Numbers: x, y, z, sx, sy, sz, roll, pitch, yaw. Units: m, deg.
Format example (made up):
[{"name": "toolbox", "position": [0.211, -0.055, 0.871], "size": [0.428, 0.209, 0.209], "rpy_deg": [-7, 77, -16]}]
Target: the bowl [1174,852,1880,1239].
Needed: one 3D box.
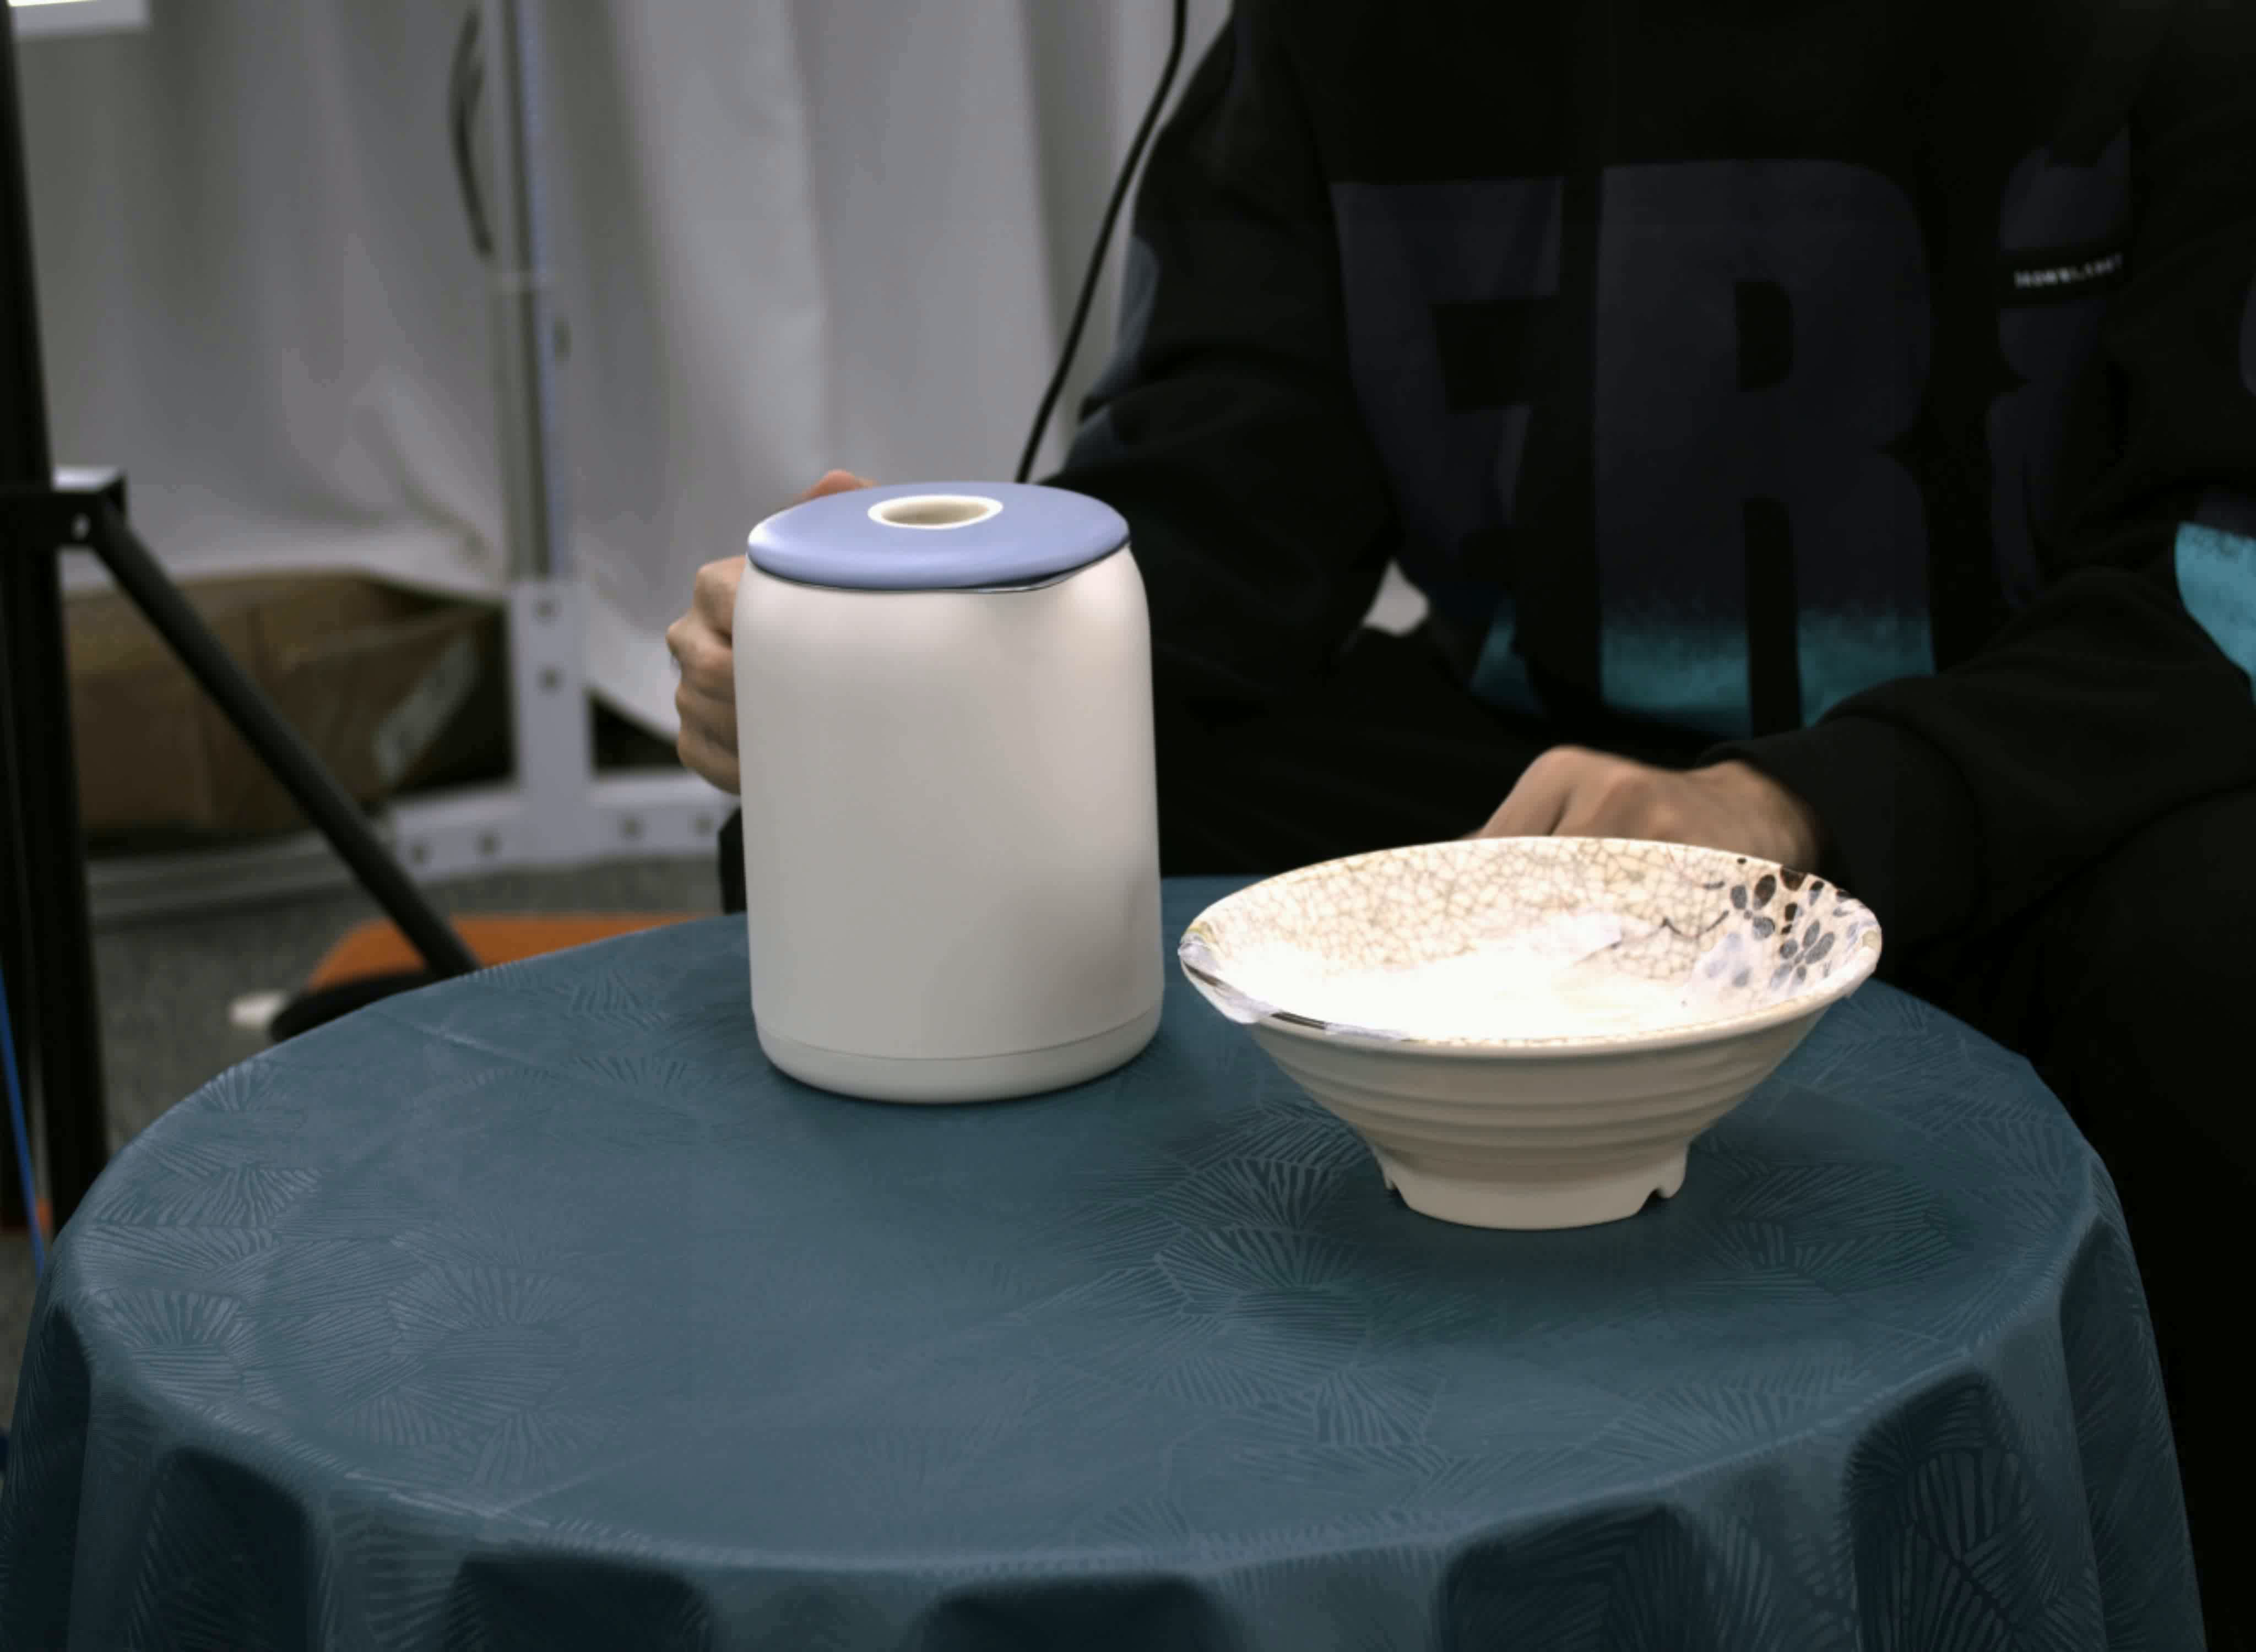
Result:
[{"name": "bowl", "position": [0.115, 0.070, 1.536], "size": [0.203, 0.078, 0.205], "rpy_deg": [-1, 14, -1]}]

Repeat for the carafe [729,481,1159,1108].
[{"name": "carafe", "position": [-0.069, -0.016, 1.696], "size": [0.129, 0.182, 0.195], "rpy_deg": [-9, 14, -27]}]
